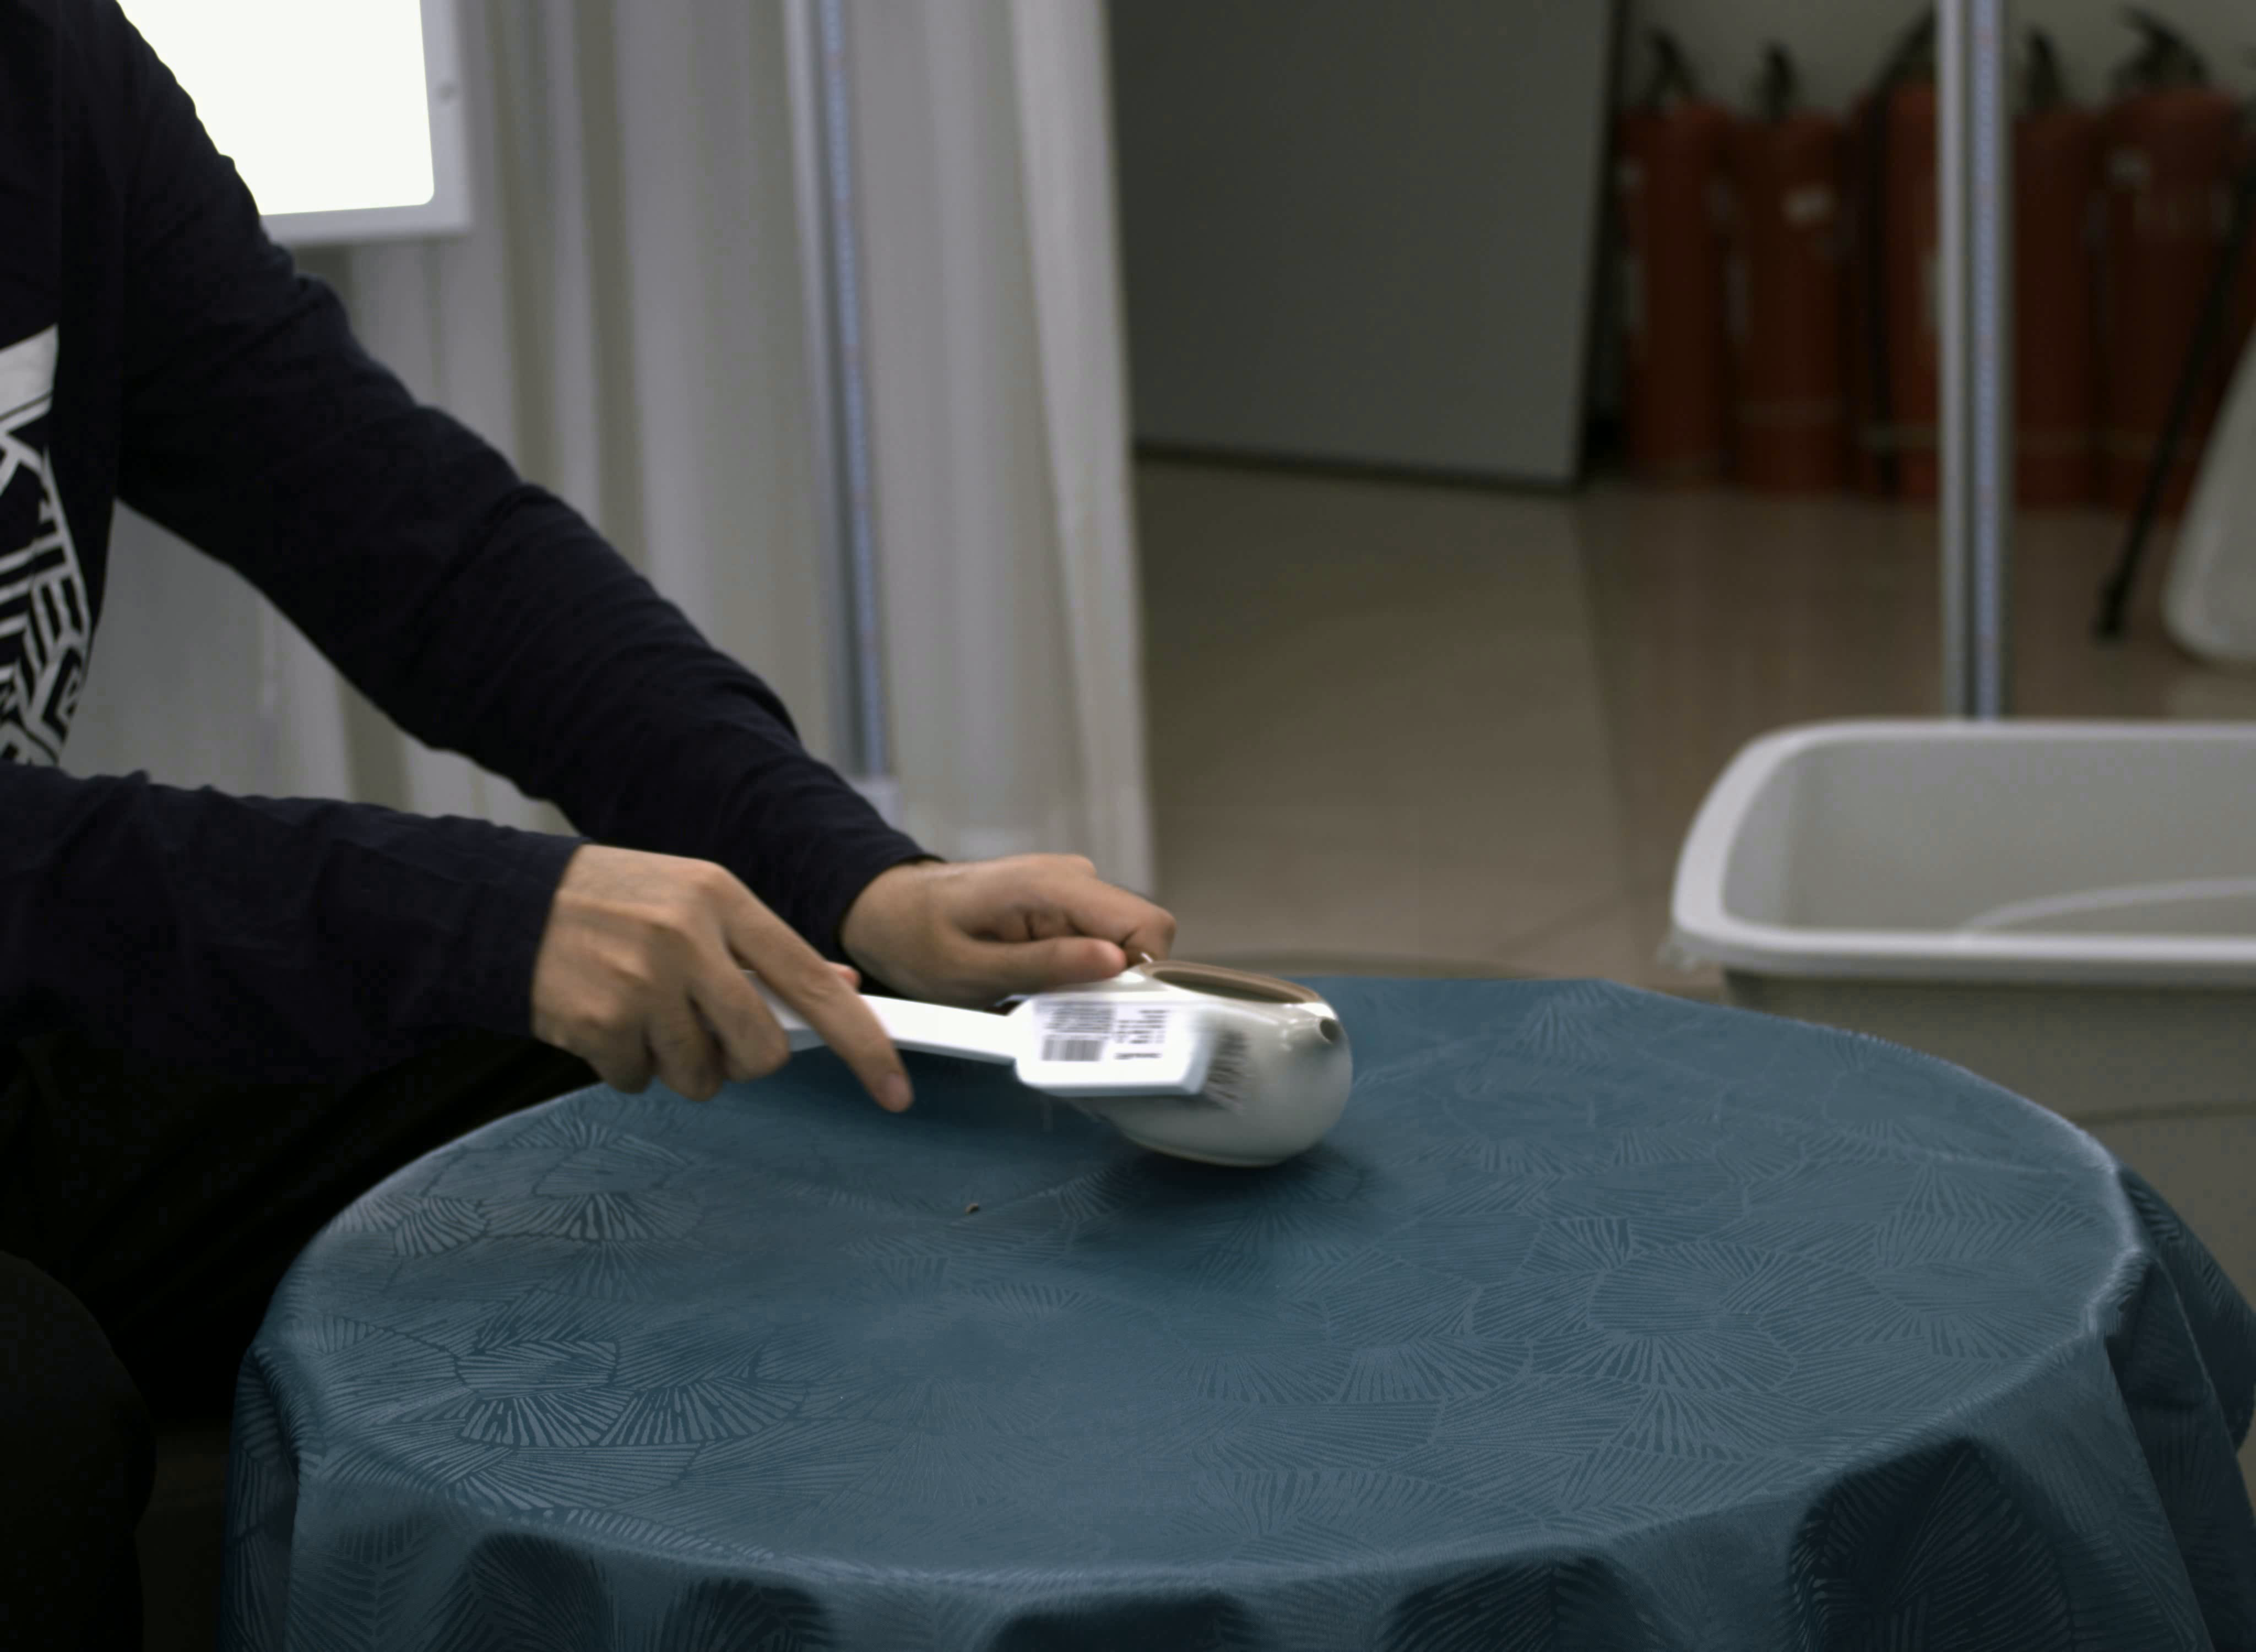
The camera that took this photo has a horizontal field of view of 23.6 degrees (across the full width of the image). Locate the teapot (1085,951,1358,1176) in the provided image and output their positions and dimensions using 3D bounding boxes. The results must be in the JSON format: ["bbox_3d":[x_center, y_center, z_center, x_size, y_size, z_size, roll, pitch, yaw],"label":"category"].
[{"bbox_3d":[0.025,0.079,1.797,0.090,0.060,0.129,0,13,-40],"label":"teapot"}]

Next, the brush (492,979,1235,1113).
[{"bbox_3d":[-0.085,0.070,1.748,0.242,0.035,0.050,1,-18,12],"label":"brush"}]
